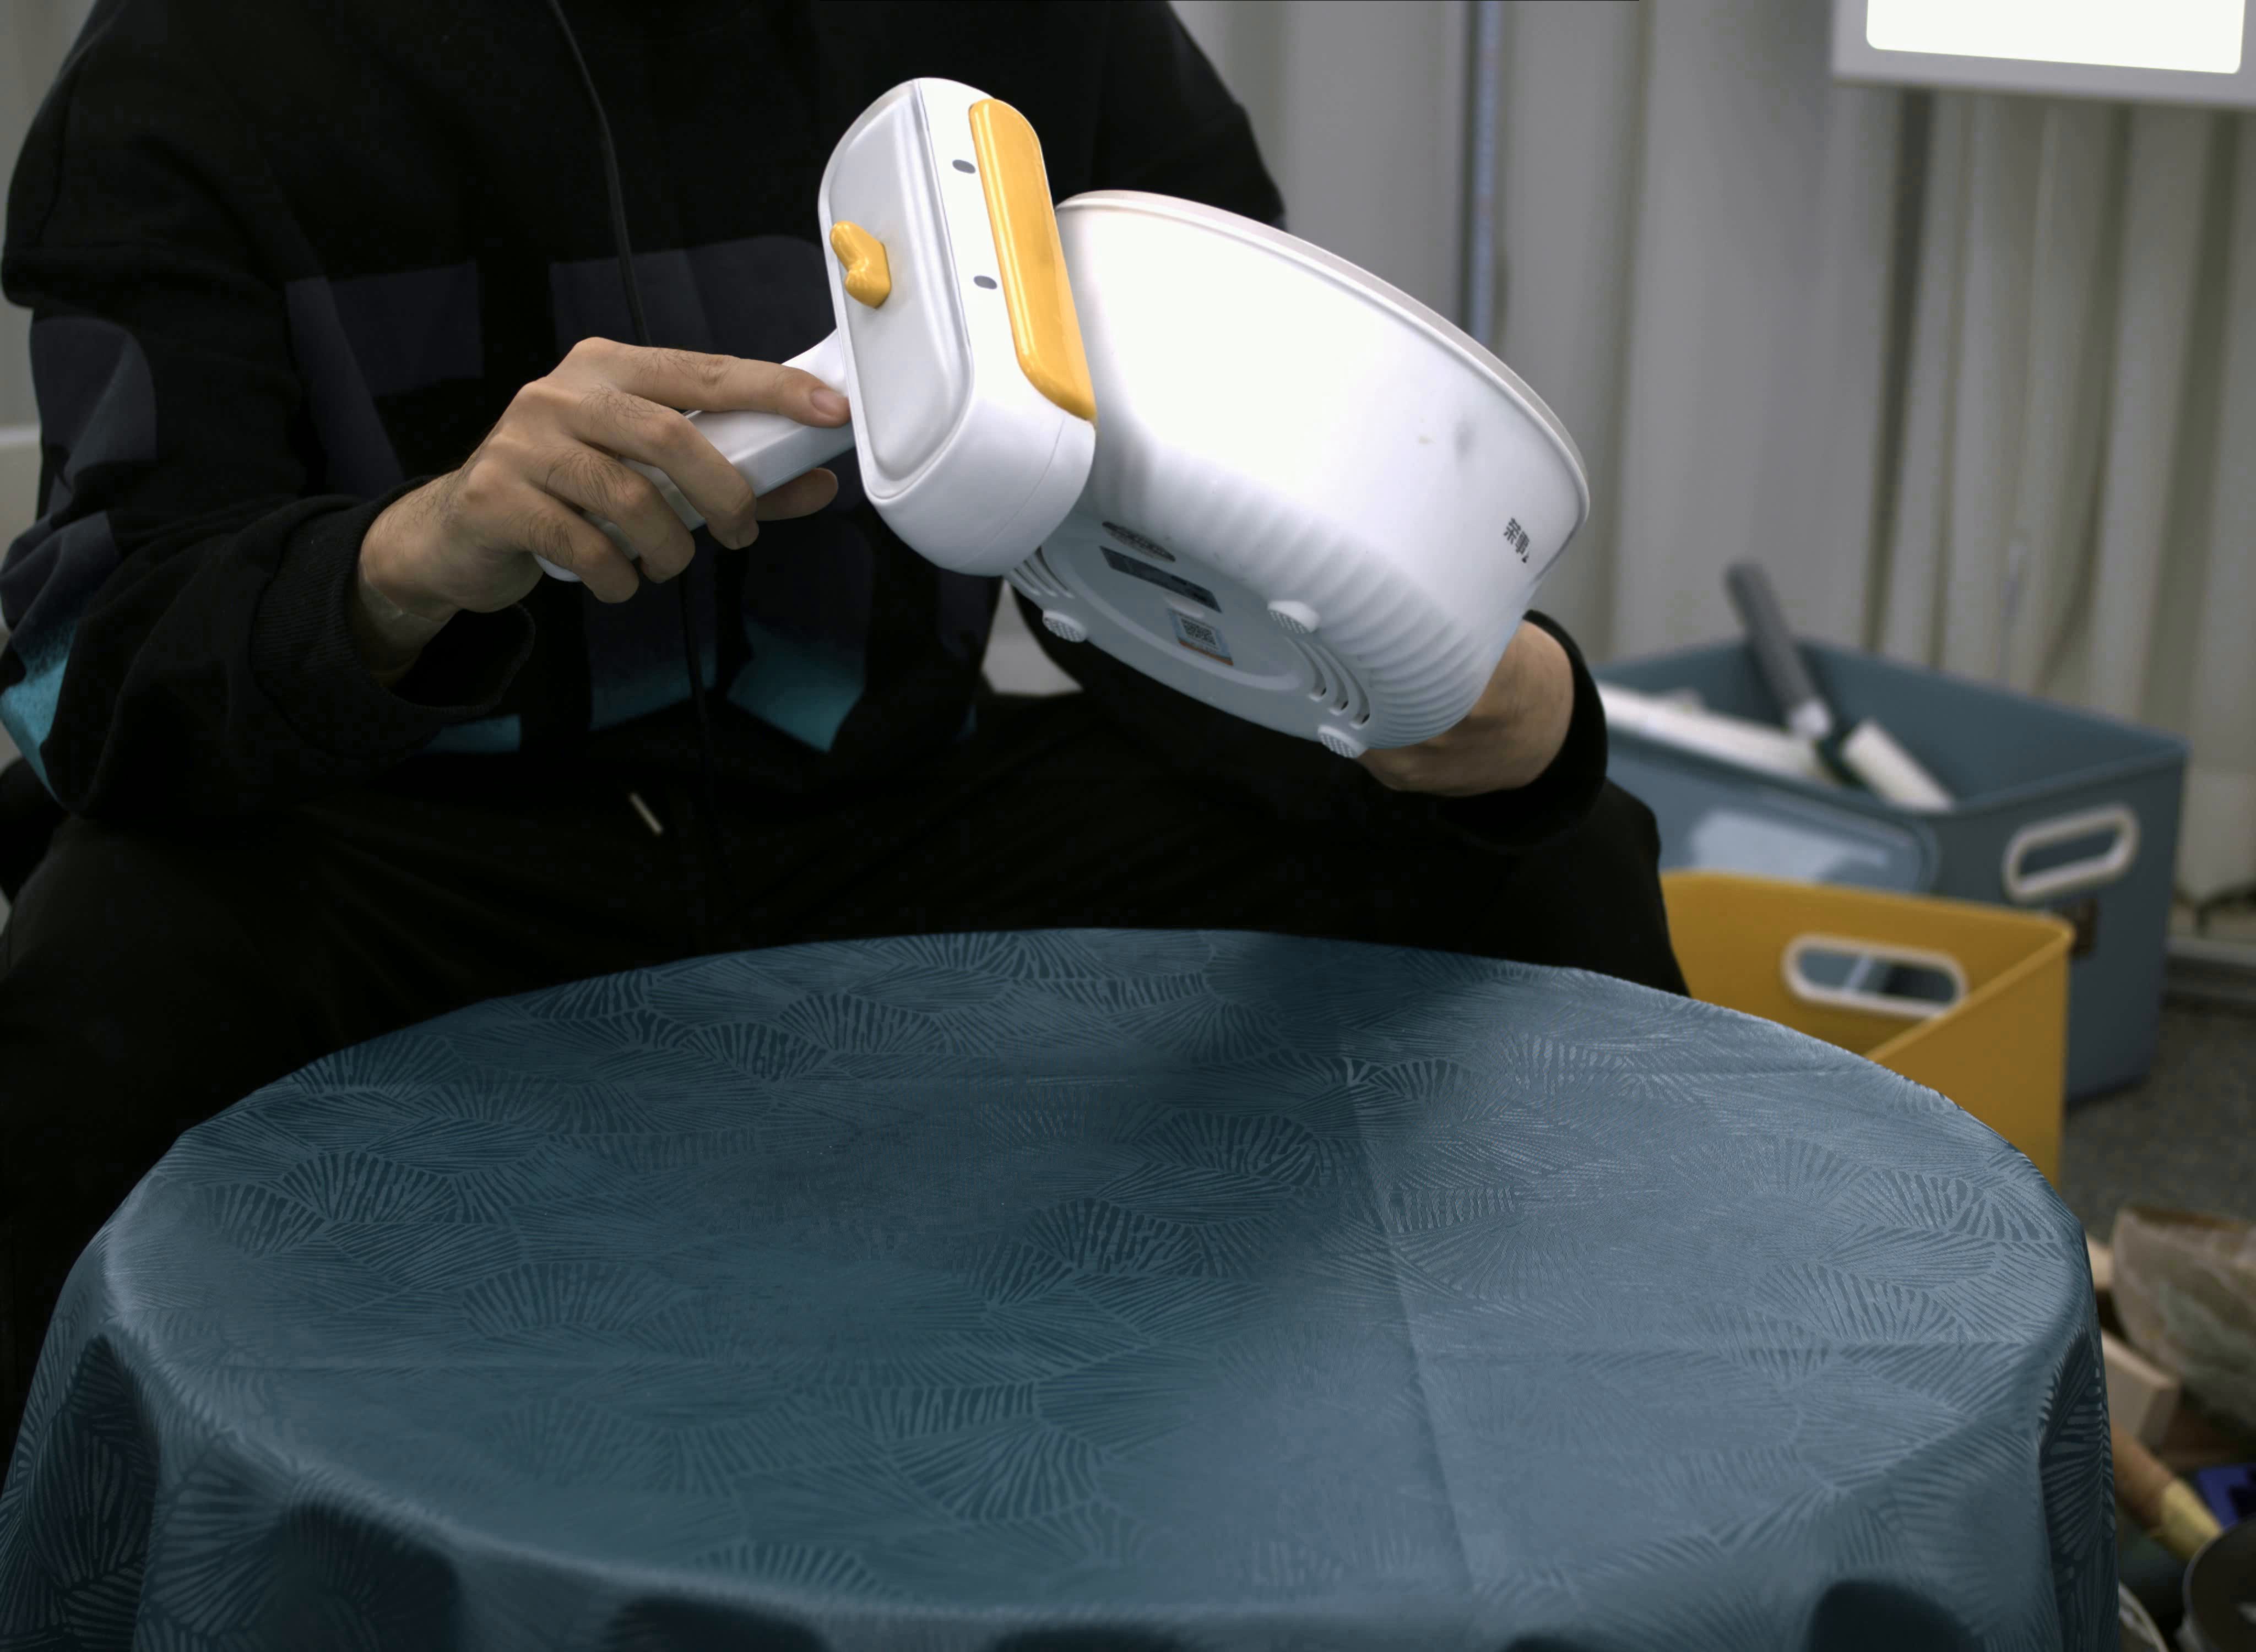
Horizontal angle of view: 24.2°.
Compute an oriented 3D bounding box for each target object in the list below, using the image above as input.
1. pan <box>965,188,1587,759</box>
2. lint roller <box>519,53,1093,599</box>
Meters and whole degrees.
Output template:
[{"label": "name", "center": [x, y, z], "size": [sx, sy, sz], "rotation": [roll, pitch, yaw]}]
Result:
[{"label": "pan", "center": [0.050, -0.077, 1.739], "size": [0.199, 0.102, 0.358], "rotation": [22, -16, 18]}, {"label": "lint roller", "center": [-0.102, -0.130, 1.615], "size": [0.075, 0.192, 0.190], "rotation": [34, 27, -40]}]
